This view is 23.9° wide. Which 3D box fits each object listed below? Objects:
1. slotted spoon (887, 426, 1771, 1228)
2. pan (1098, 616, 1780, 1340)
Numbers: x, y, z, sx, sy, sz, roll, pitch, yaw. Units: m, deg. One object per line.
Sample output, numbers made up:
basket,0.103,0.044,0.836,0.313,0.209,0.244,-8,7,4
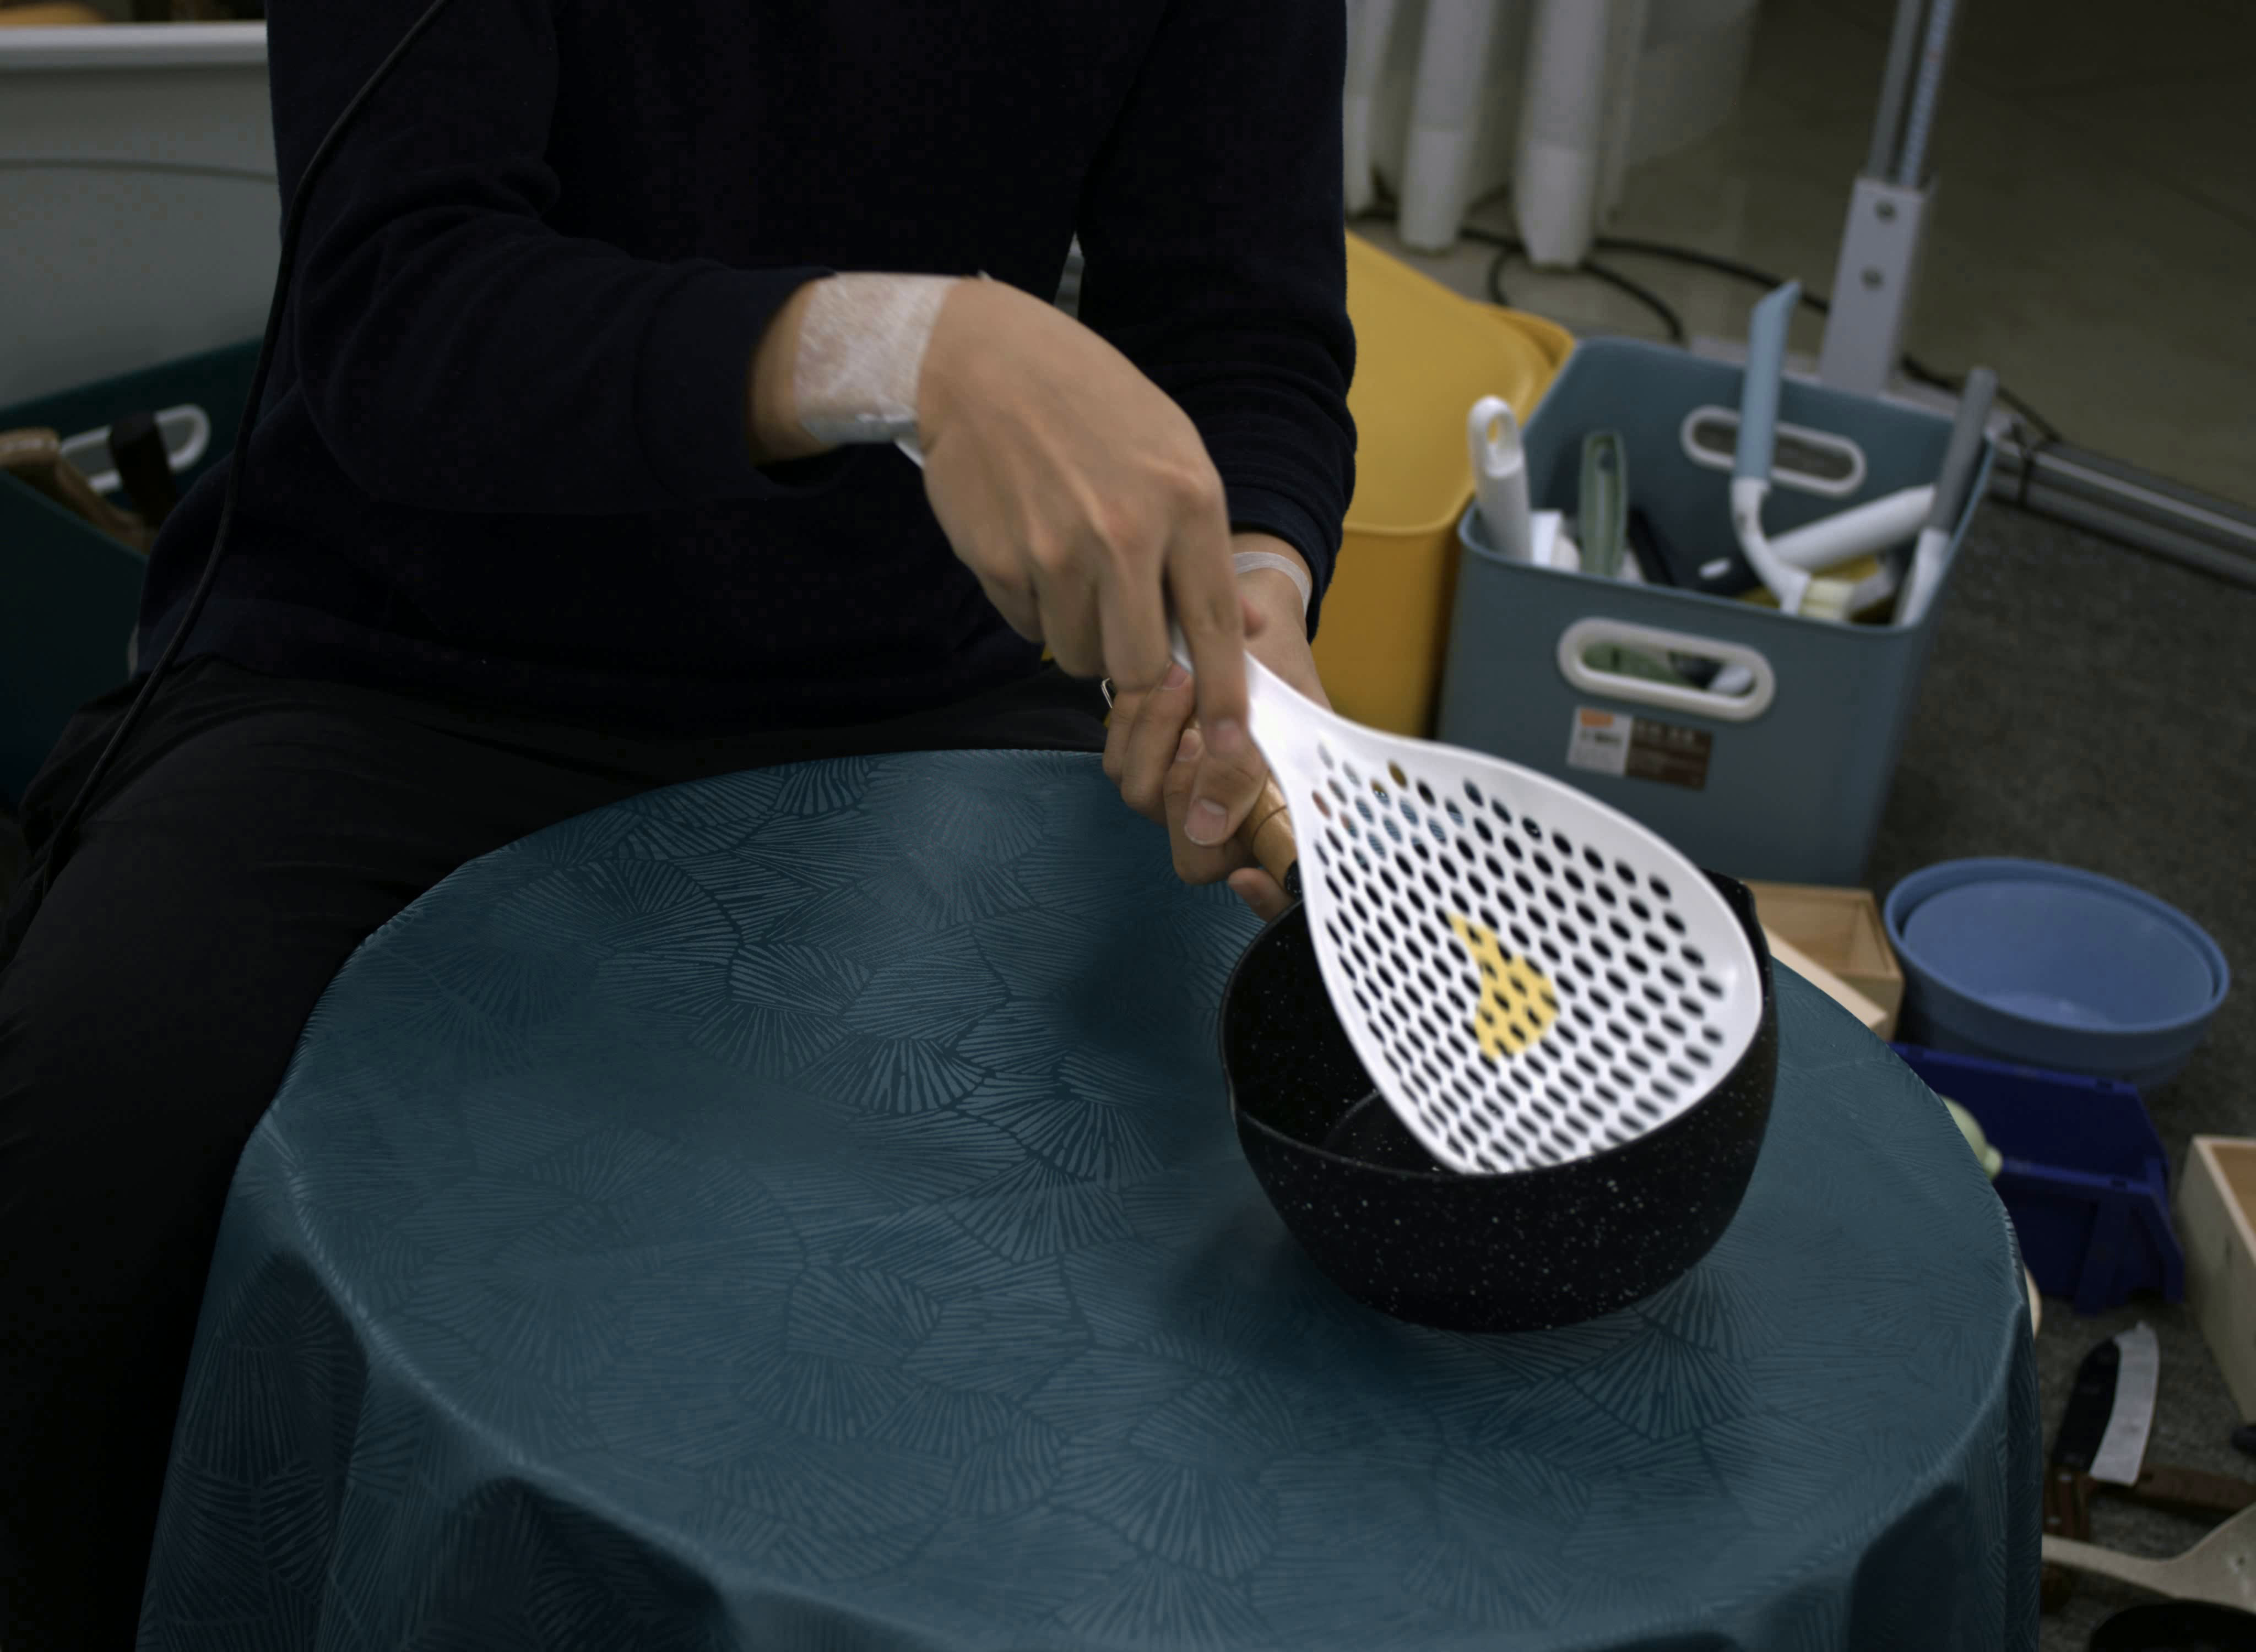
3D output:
slotted spoon,0.058,-0.014,1.718,0.347,0.050,0.137,45,70,-2
pan,0.084,0.045,1.819,0.207,0.107,0.346,-26,39,-19
